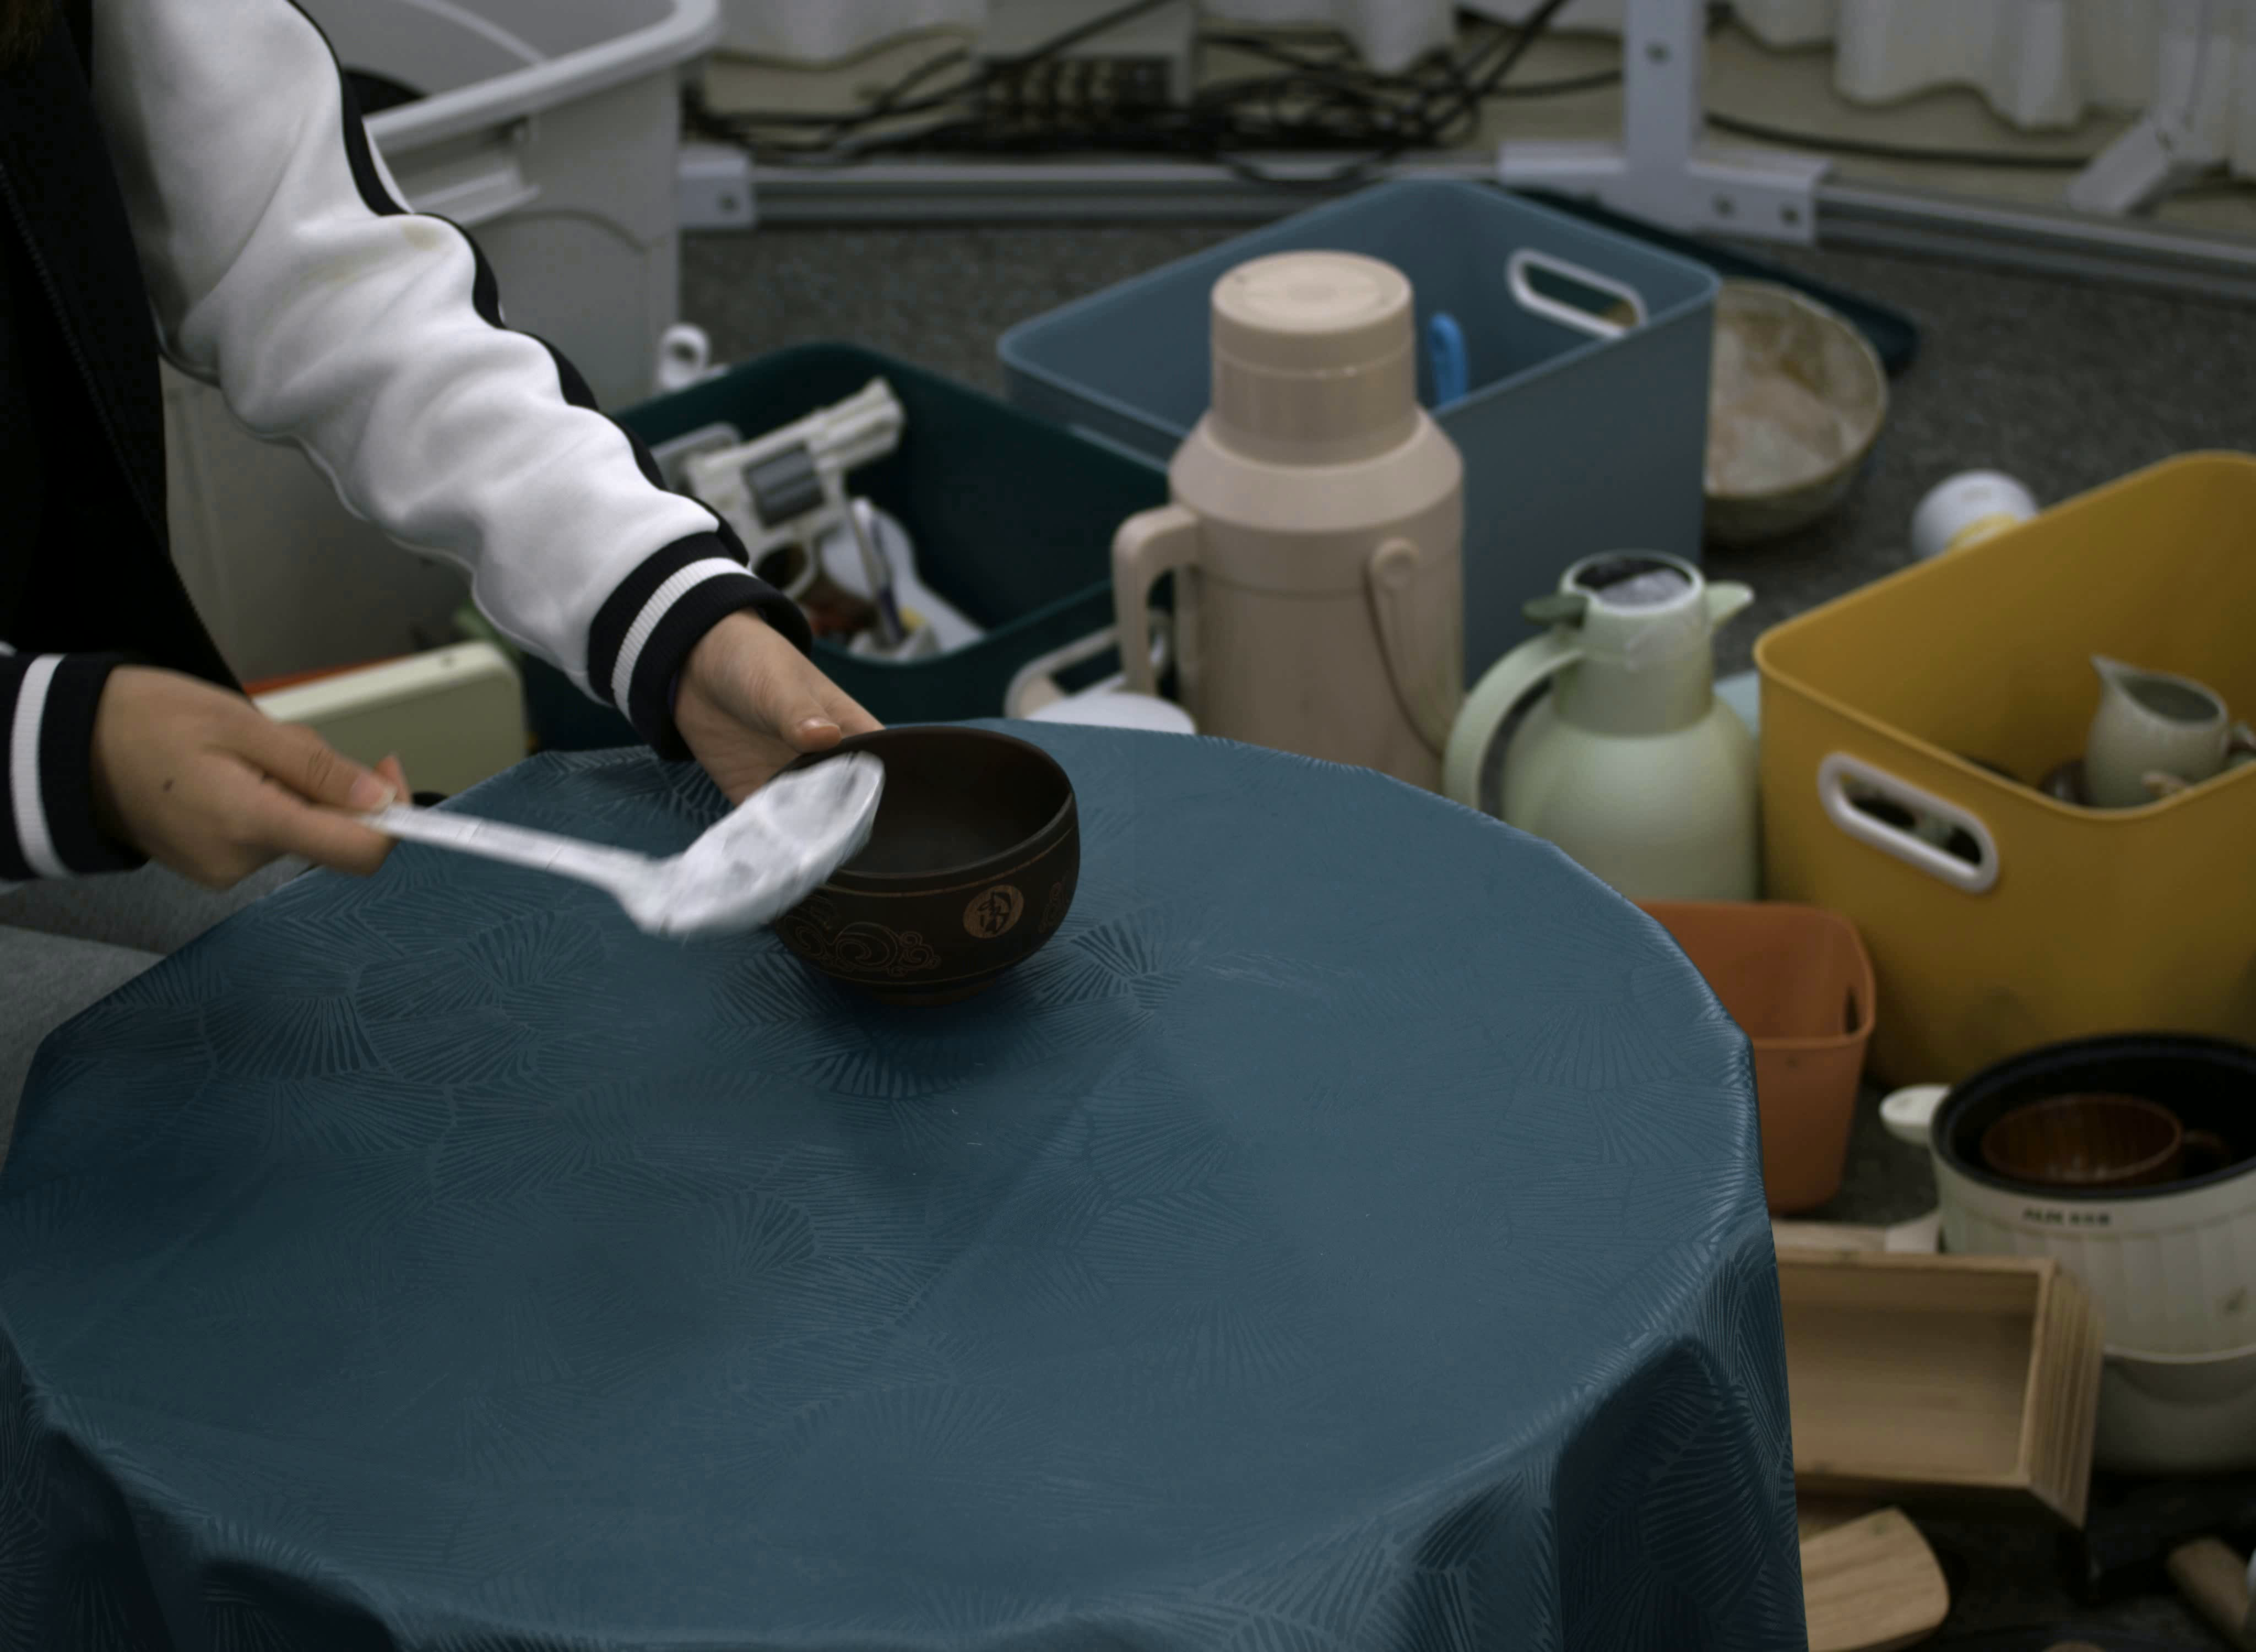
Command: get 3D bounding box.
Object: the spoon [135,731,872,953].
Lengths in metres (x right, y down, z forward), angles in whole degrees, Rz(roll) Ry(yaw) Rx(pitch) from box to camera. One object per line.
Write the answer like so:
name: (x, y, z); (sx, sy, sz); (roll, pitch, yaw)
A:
spoon: (-0.212, -0.015, 1.871); (0.276, 0.058, 0.102); (16, 36, 20)

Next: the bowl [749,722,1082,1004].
bowl: (-0.074, 0.020, 1.987); (0.117, 0.069, 0.120); (-2, 27, 2)
